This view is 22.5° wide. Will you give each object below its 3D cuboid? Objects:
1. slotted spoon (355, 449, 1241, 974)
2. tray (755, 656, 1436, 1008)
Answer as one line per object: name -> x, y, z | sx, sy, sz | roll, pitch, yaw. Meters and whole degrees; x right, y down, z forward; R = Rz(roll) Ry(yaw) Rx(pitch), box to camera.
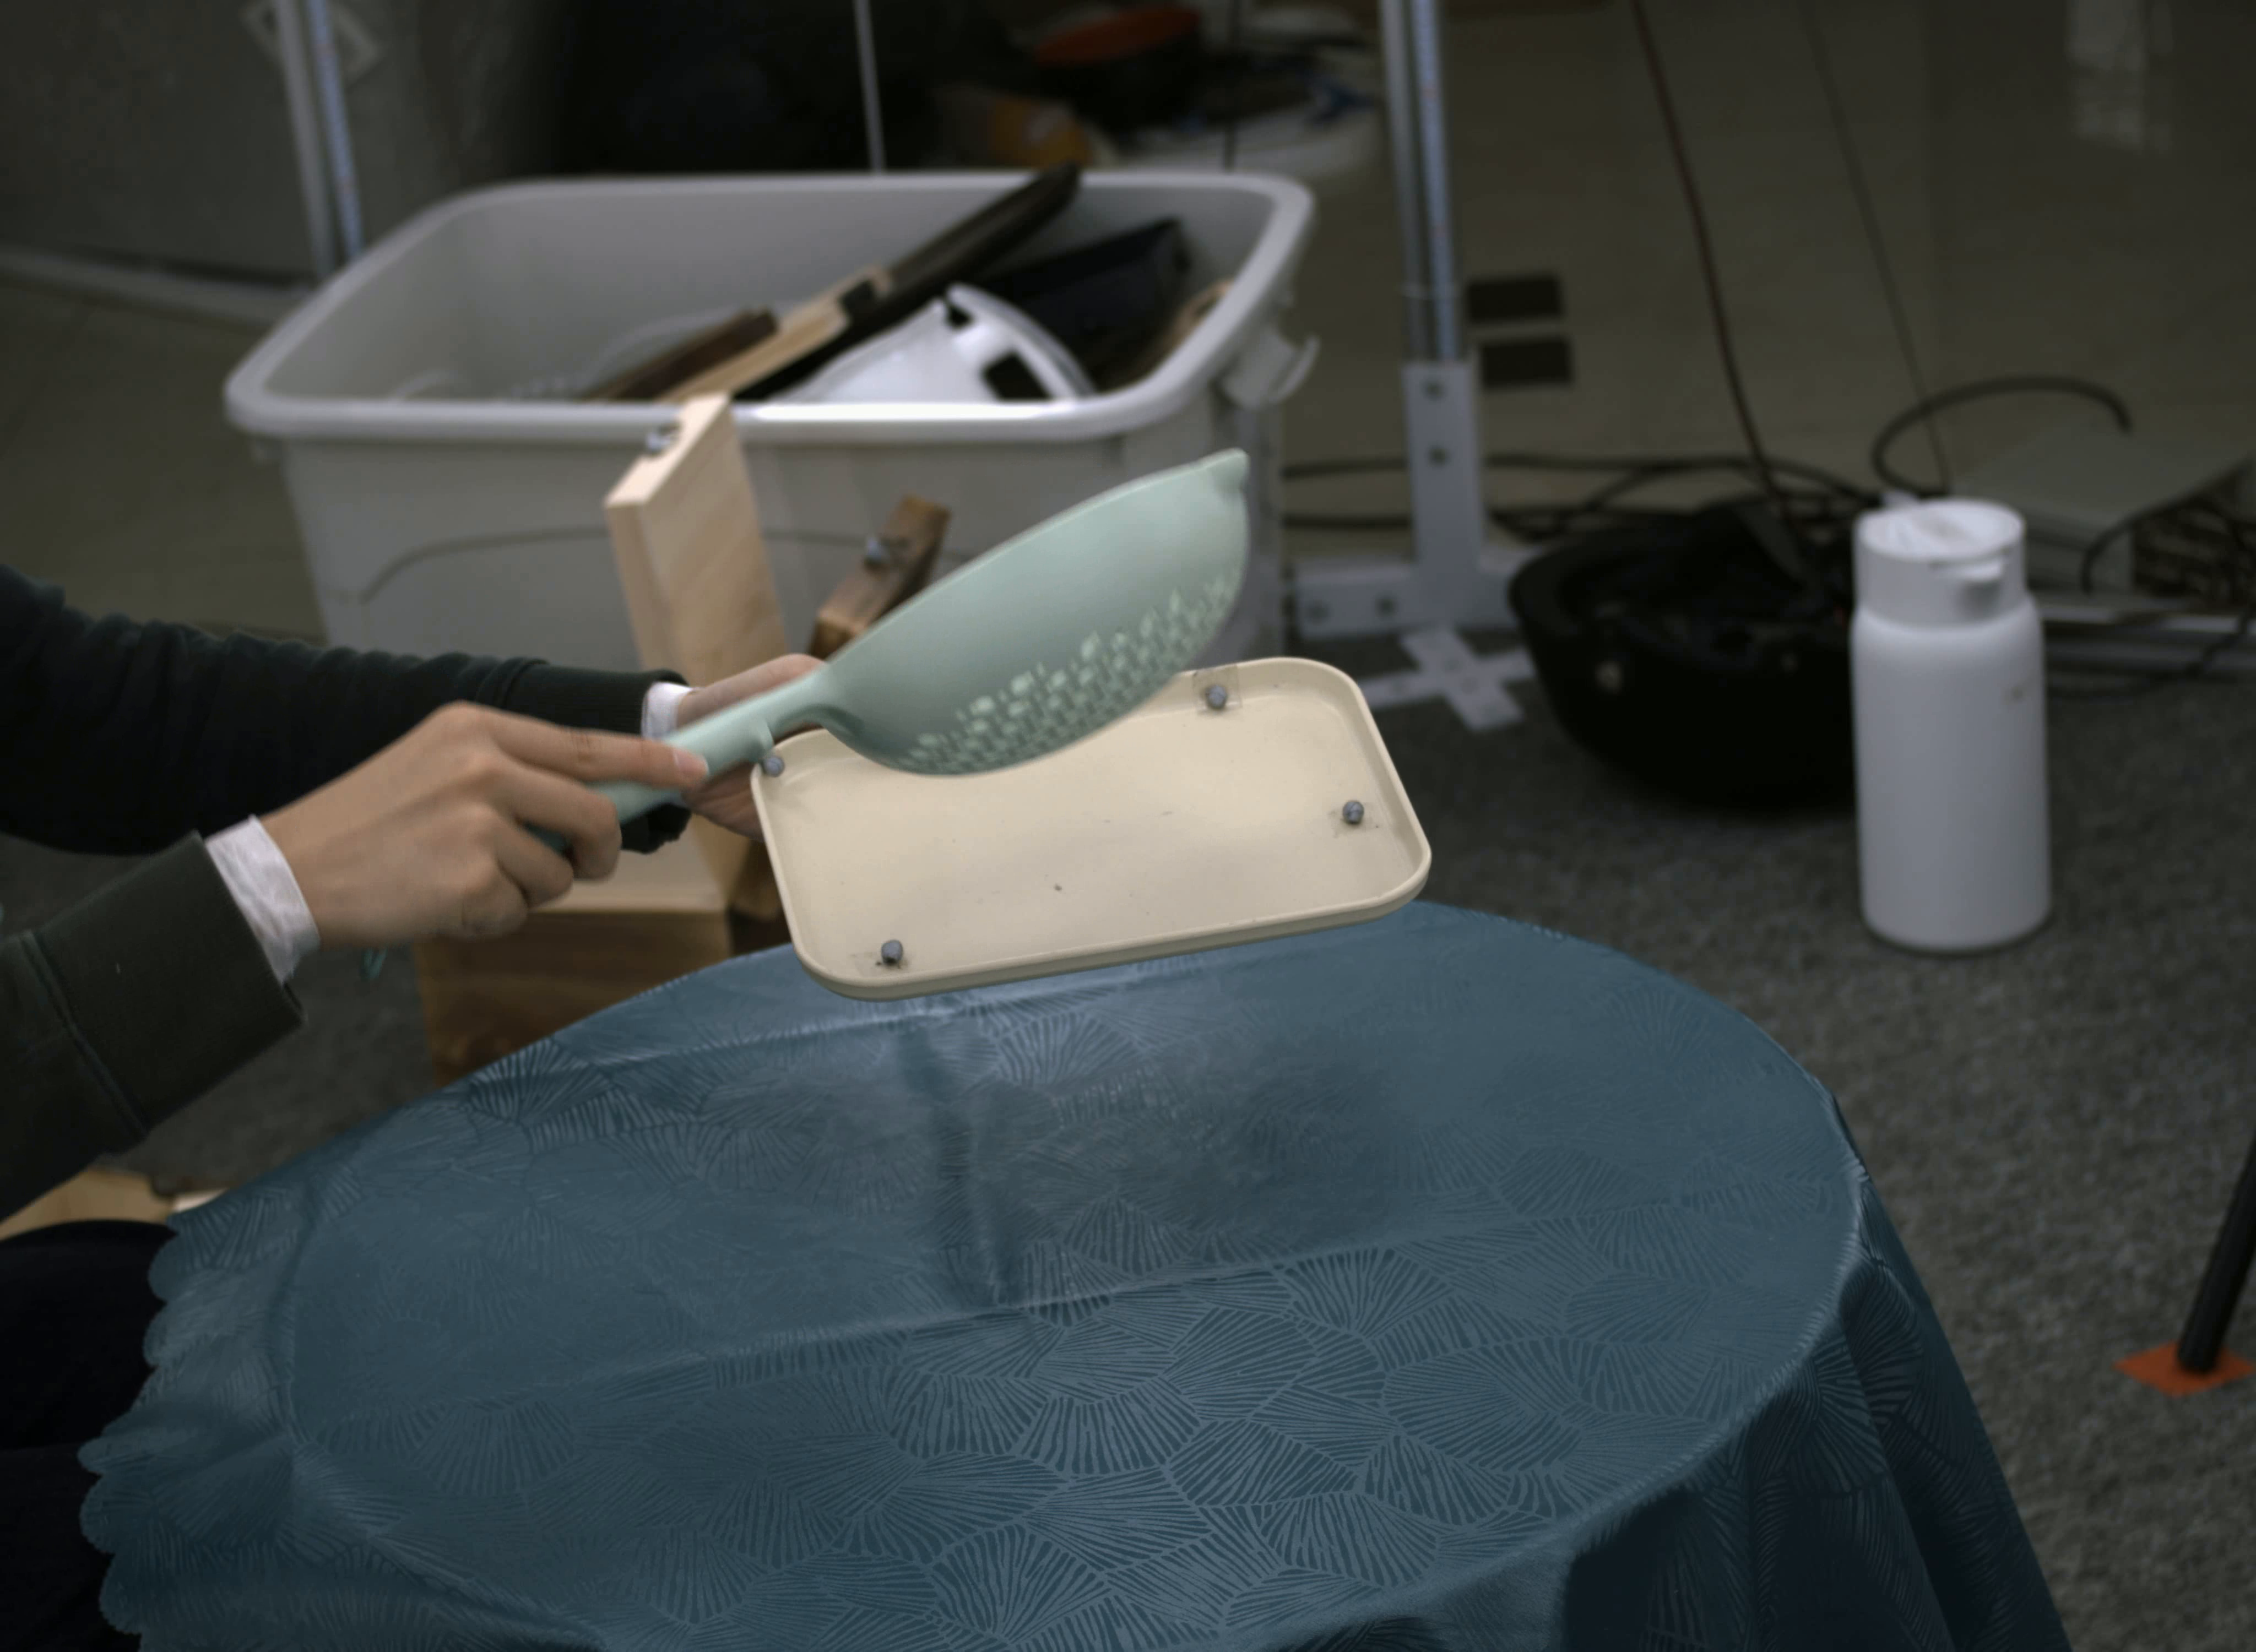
slotted spoon -> -0.111, -0.035, 1.922 | 0.357, 0.075, 0.171 | -18, -11, -26
tray -> -0.014, 0.002, 2.127 | 0.239, 0.018, 0.168 | -10, 36, -7
